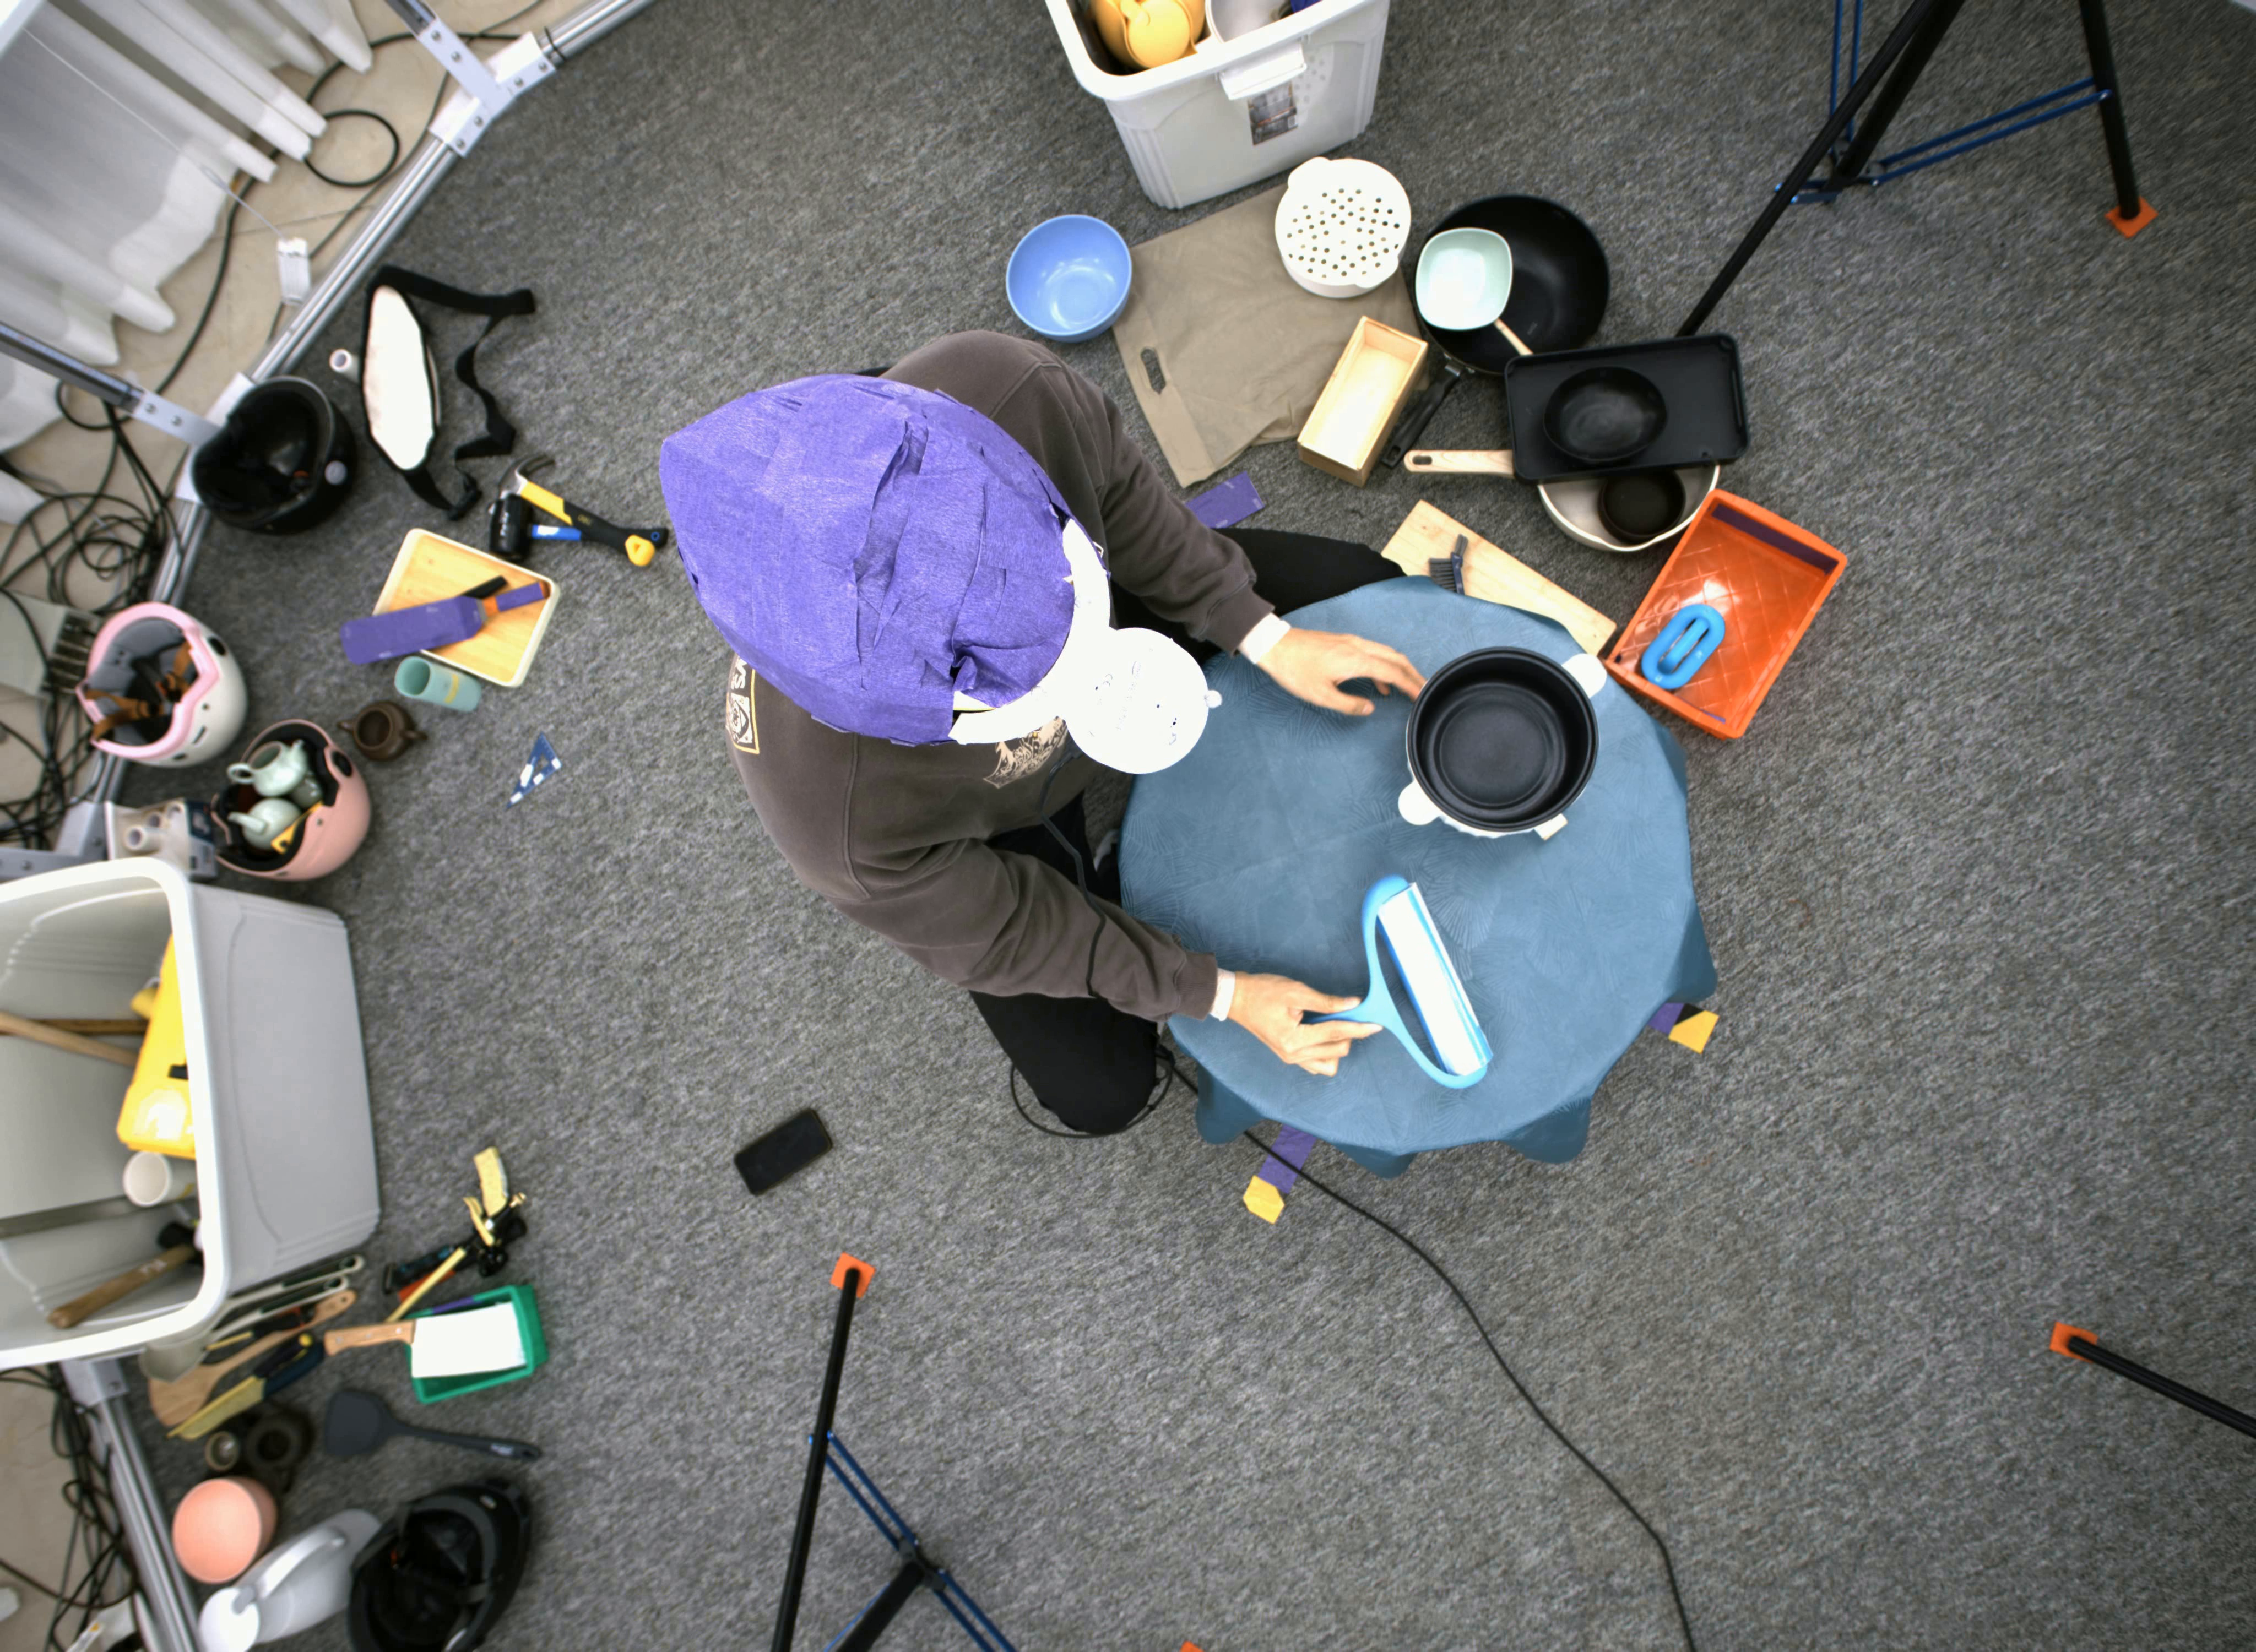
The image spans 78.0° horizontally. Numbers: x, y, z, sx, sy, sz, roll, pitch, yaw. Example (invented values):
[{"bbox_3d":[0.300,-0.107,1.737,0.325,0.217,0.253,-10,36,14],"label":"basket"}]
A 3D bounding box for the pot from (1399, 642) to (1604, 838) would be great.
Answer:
[{"bbox_3d":[0.373,-0.078,1.375,0.242,0.143,0.189,-40,78,7],"label":"pot"}]

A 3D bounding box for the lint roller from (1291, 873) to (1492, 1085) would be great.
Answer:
[{"bbox_3d":[0.253,0.180,1.405,0.181,0.067,0.229,-27,94,5],"label":"lint roller"}]
